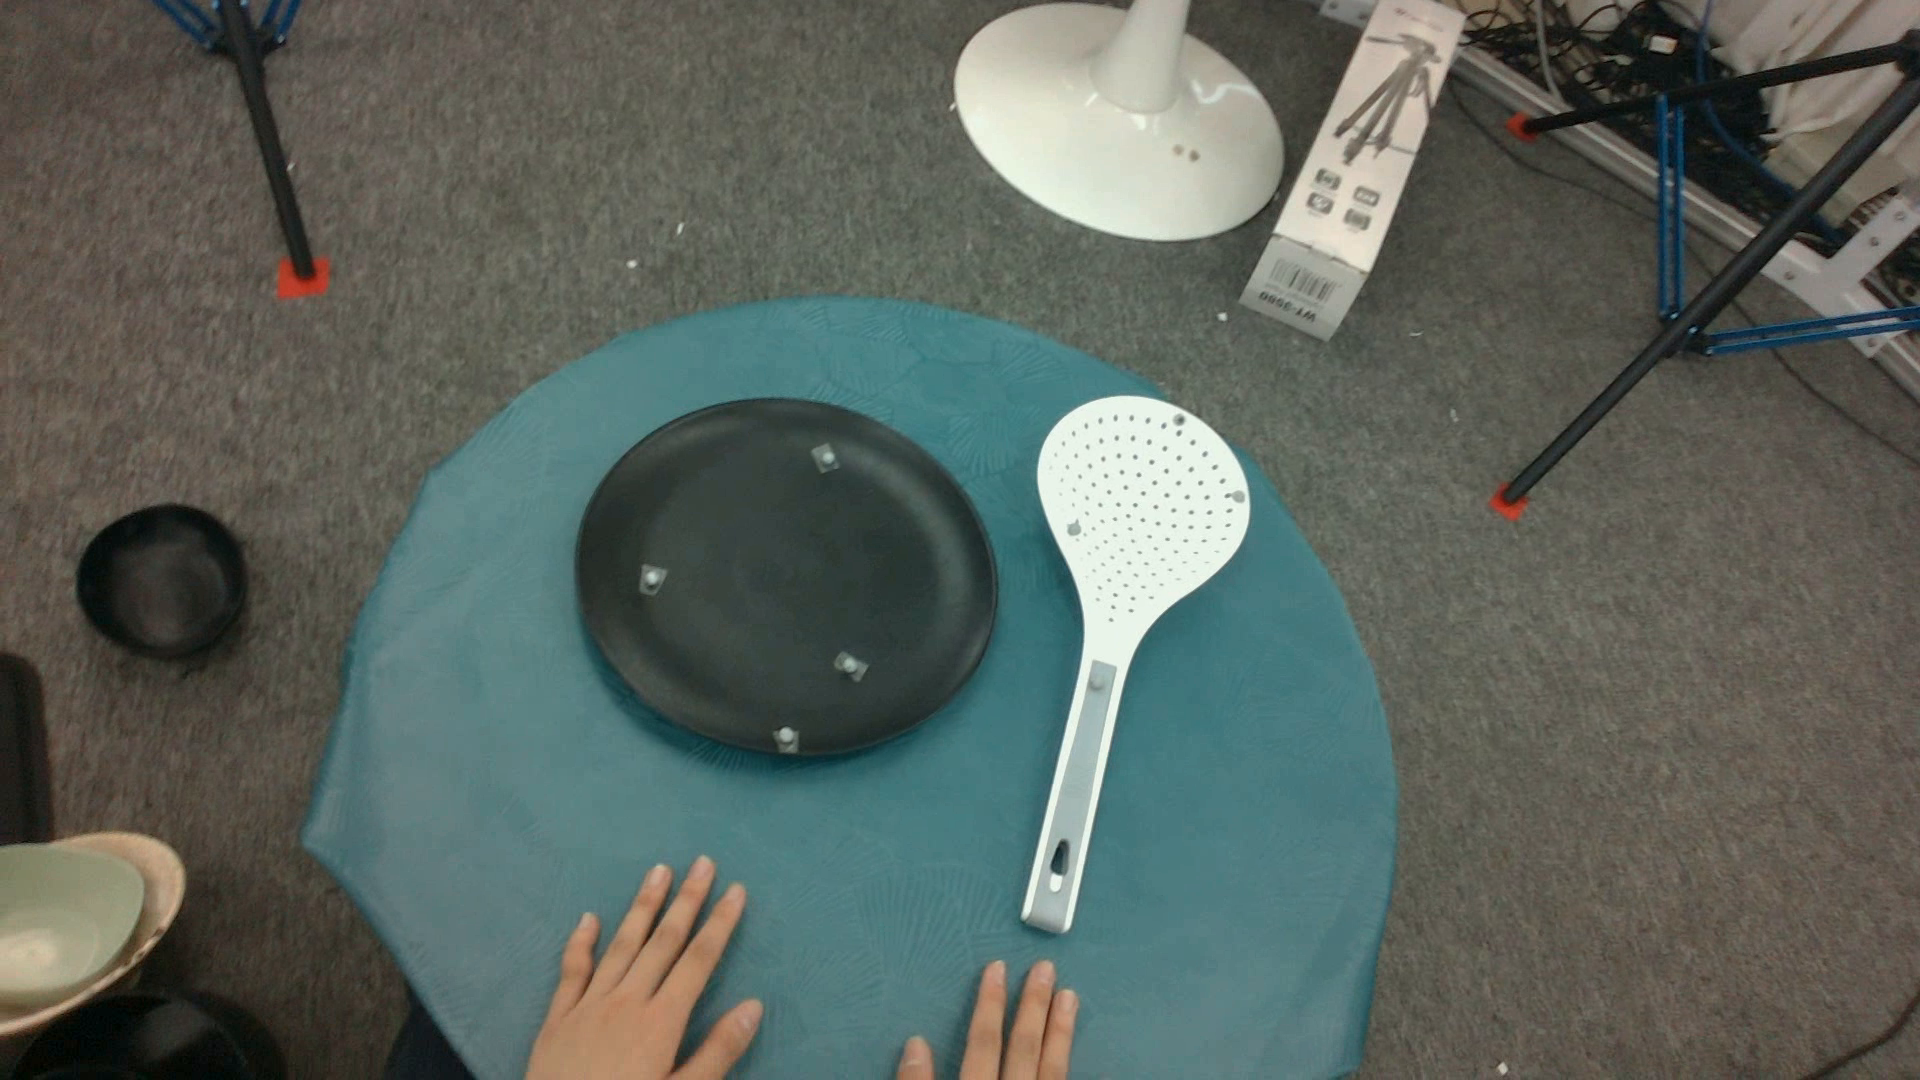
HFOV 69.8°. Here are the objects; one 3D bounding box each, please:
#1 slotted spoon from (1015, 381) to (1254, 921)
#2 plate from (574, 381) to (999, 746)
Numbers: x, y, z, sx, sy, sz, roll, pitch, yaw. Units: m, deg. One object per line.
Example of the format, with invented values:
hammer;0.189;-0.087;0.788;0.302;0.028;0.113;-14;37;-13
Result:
slotted spoon;0.088;0.052;0.809;0.136;0.045;0.351;18;56;-1
plate;-0.097;0.010;0.799;0.244;0.023;0.245;7;57;-11
